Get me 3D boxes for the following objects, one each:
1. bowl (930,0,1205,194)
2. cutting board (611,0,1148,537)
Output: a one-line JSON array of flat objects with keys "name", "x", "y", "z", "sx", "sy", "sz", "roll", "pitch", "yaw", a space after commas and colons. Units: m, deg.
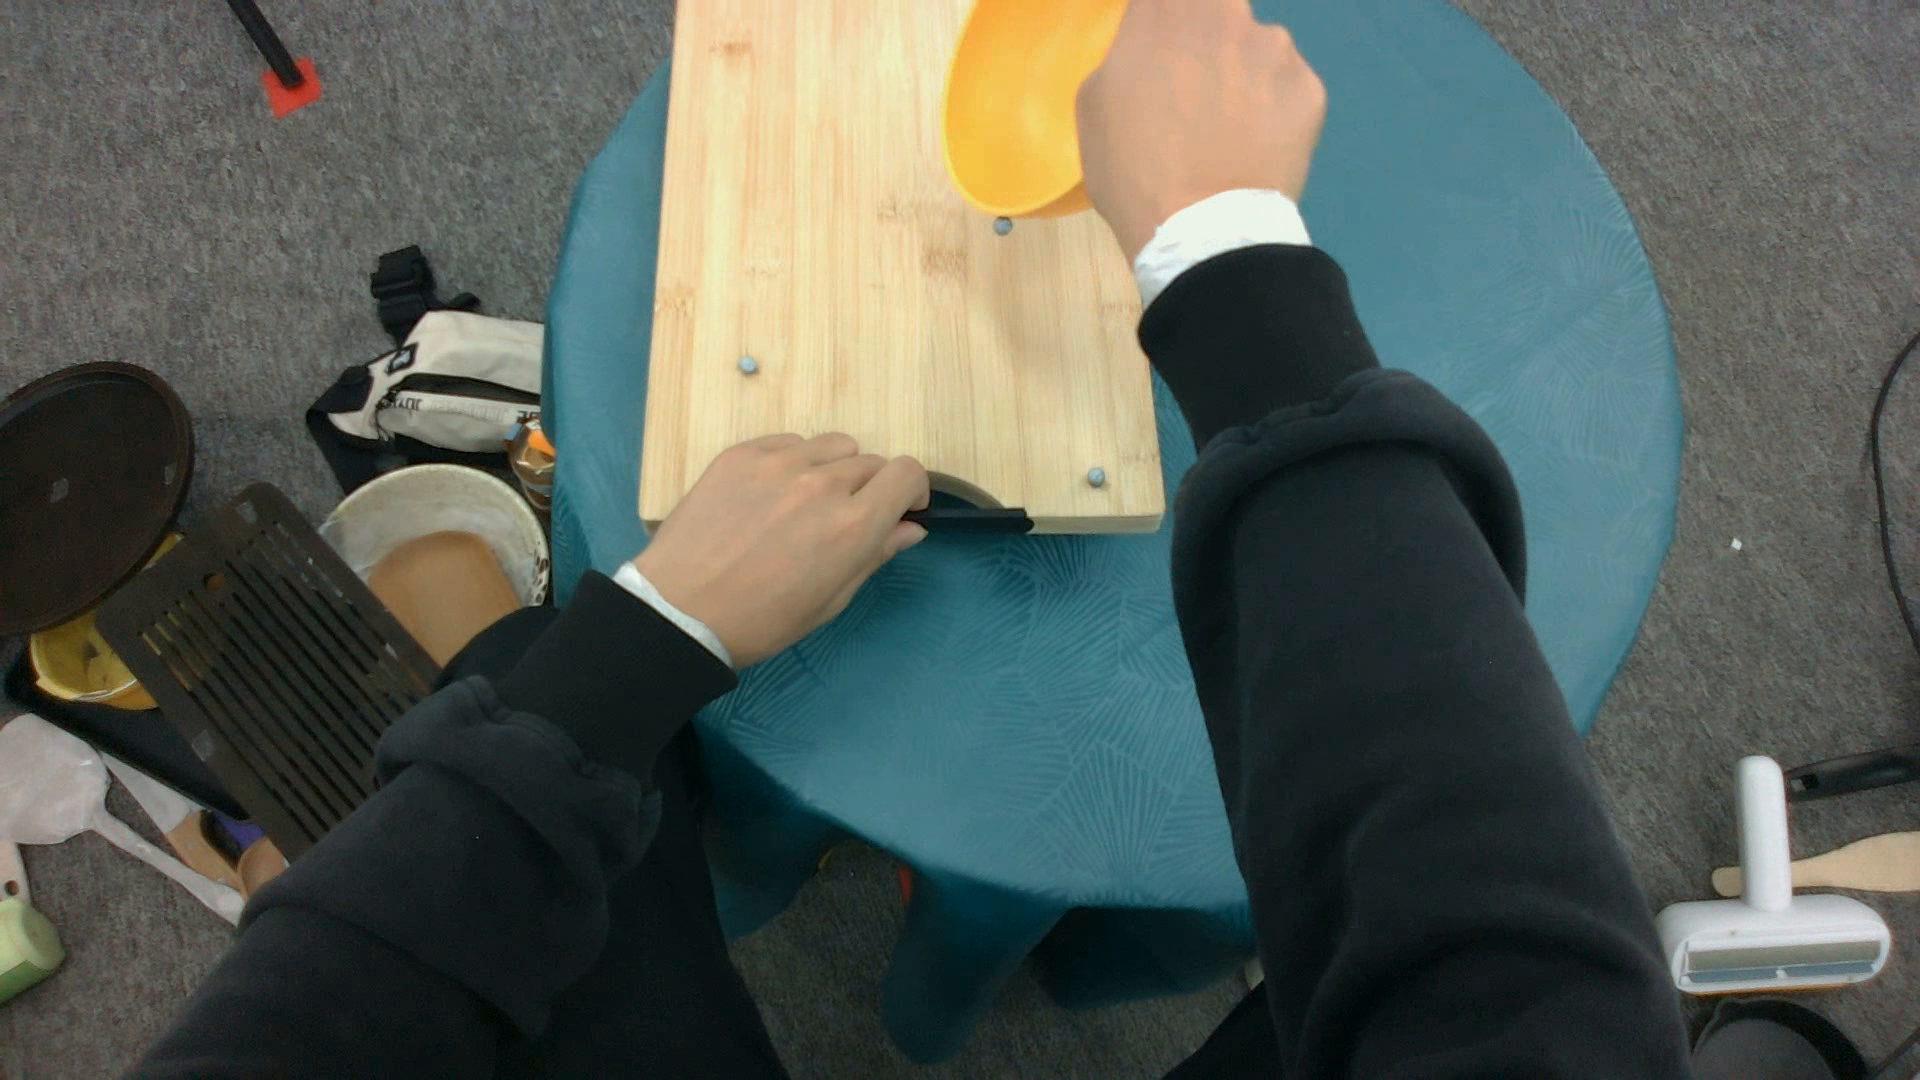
[{"name": "bowl", "x": 0.057, "y": -0.212, "z": 0.607, "sx": 0.060, "sy": 0.145, "sz": 0.146, "roll": 20, "pitch": 62, "yaw": -42}, {"name": "cutting board", "x": -0.041, "y": -0.158, "z": 0.705, "sx": 0.251, "sy": 0.023, "sz": 0.350, "roll": -1, "pitch": 63, "yaw": -5}]
